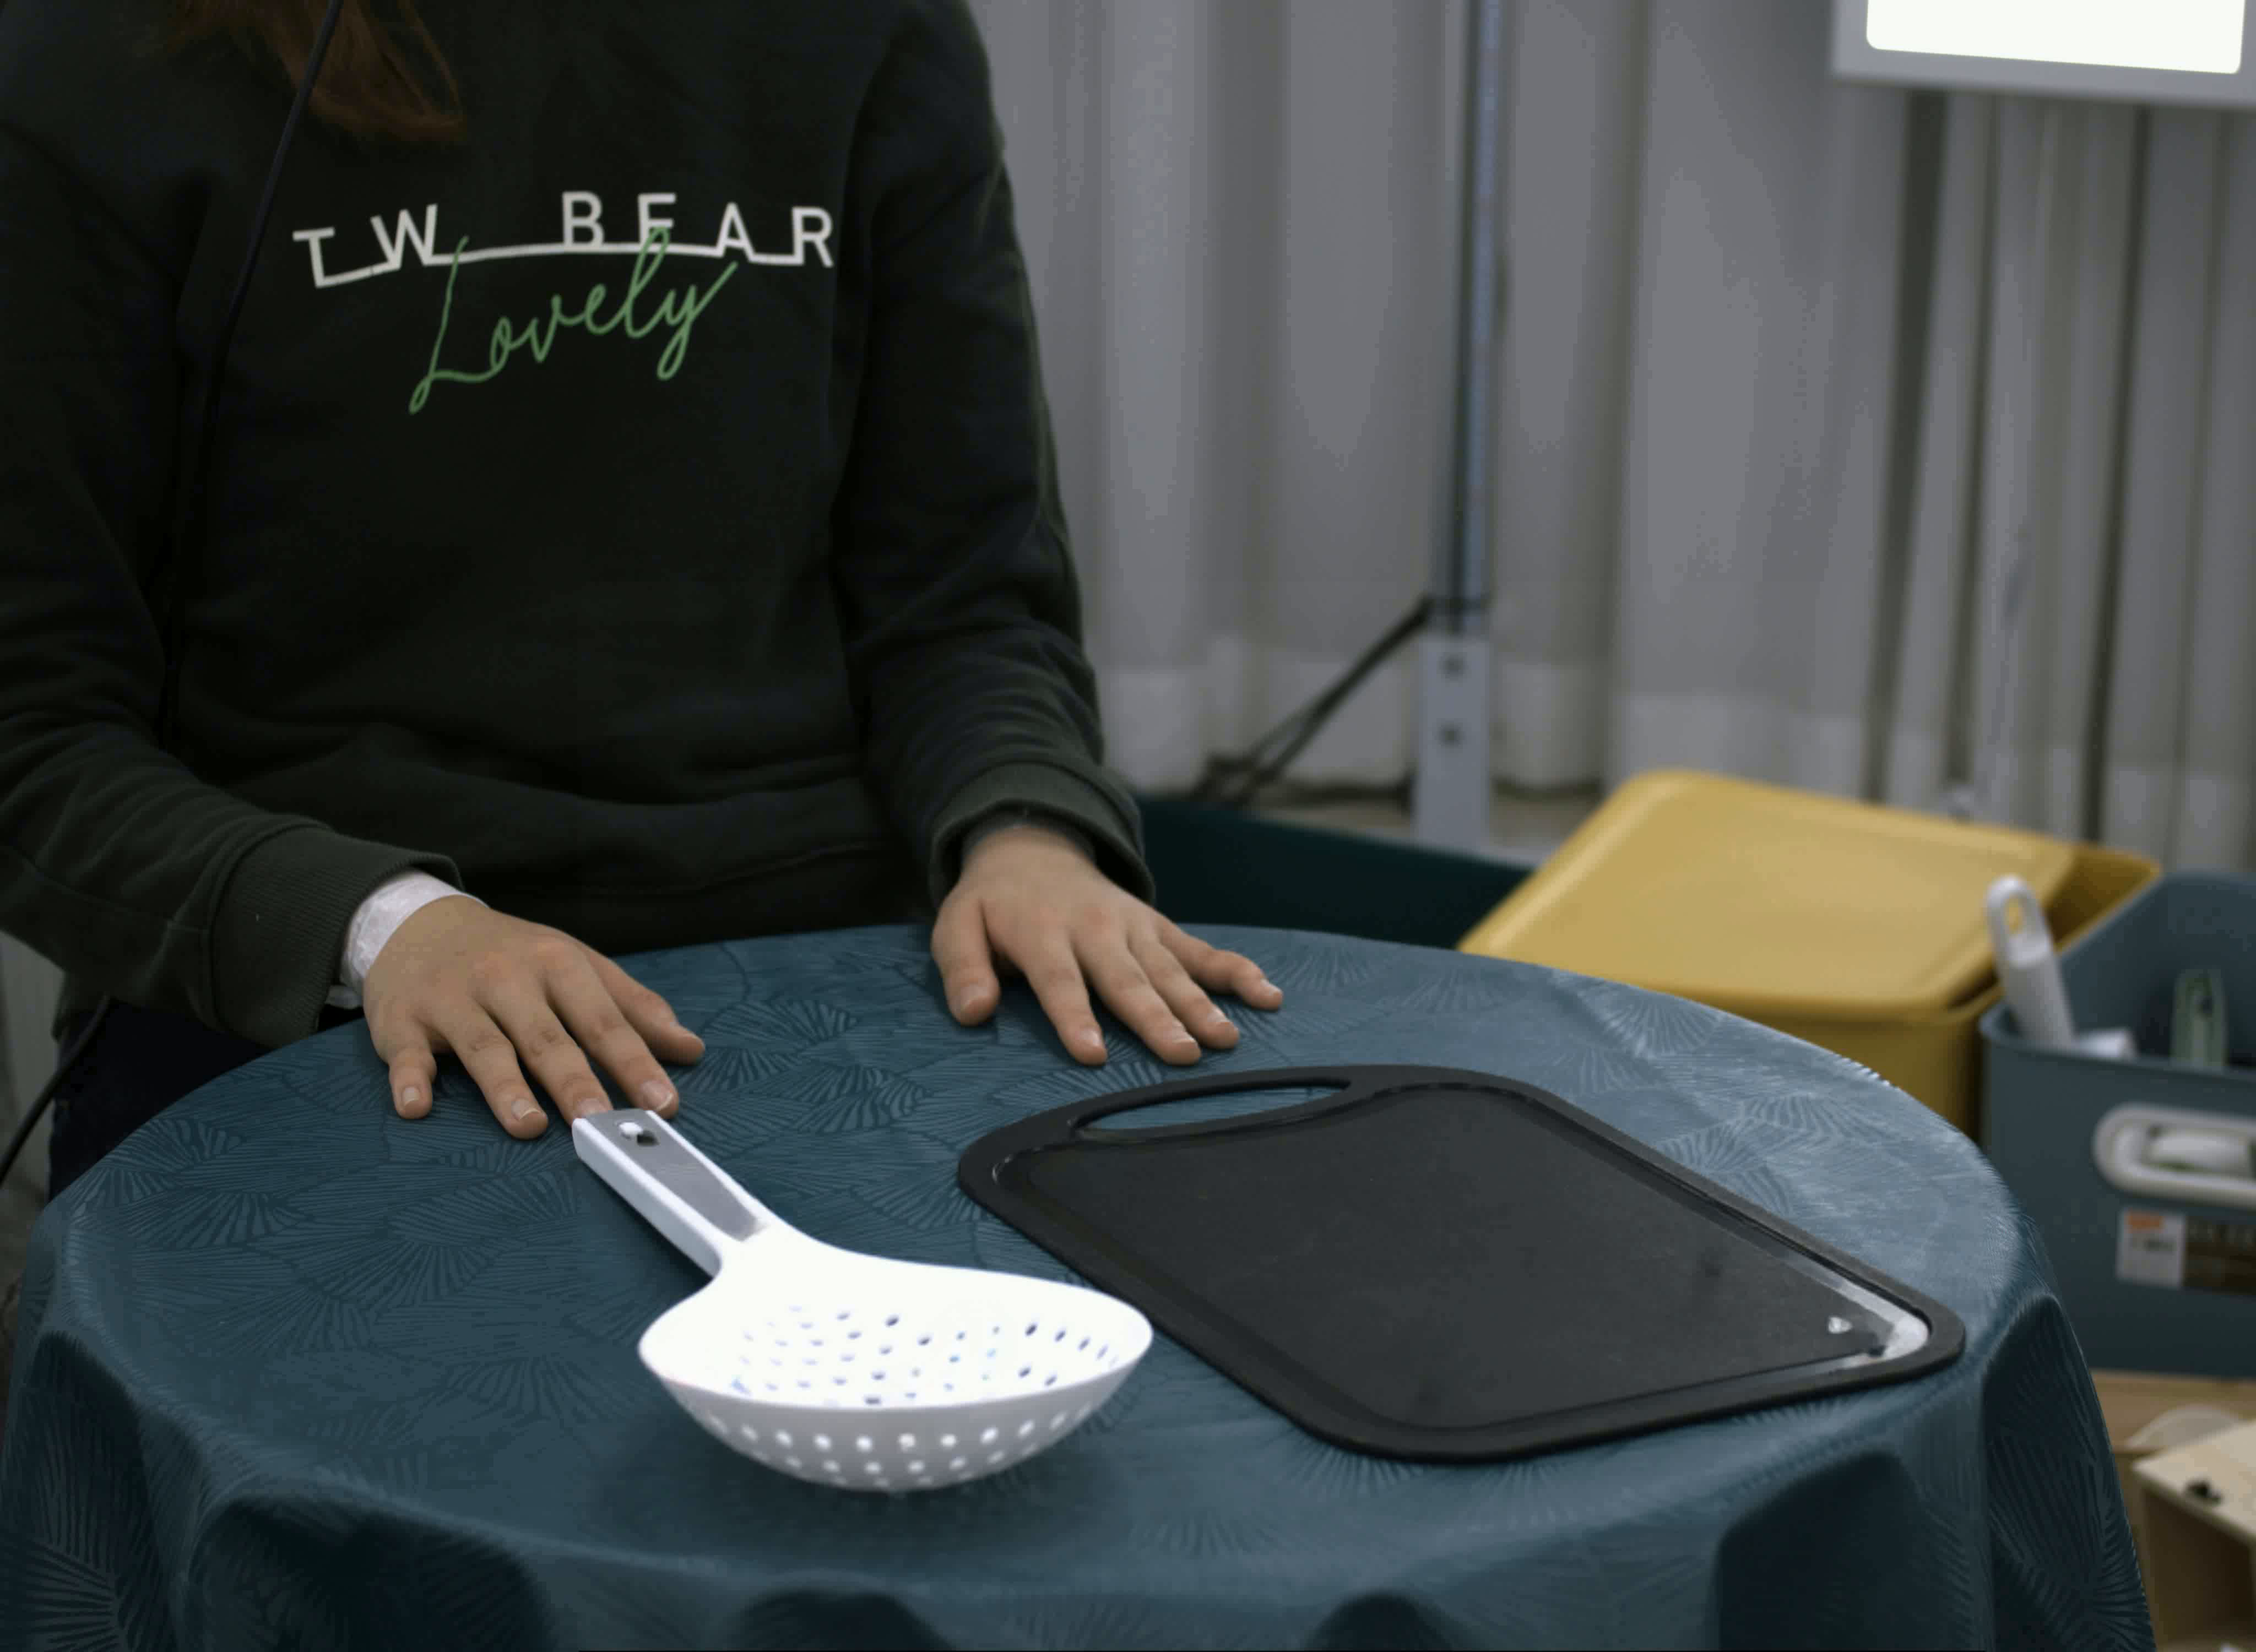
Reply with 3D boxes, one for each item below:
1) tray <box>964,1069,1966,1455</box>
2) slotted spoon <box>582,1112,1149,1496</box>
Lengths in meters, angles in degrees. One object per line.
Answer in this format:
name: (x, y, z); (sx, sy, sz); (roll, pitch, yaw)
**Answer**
tray: (0.090, 0.123, 1.582); (0.212, 0.010, 0.321); (-7, 17, -26)
slotted spoon: (-0.100, 0.126, 1.493); (0.136, 0.046, 0.346); (-3, 15, -21)
